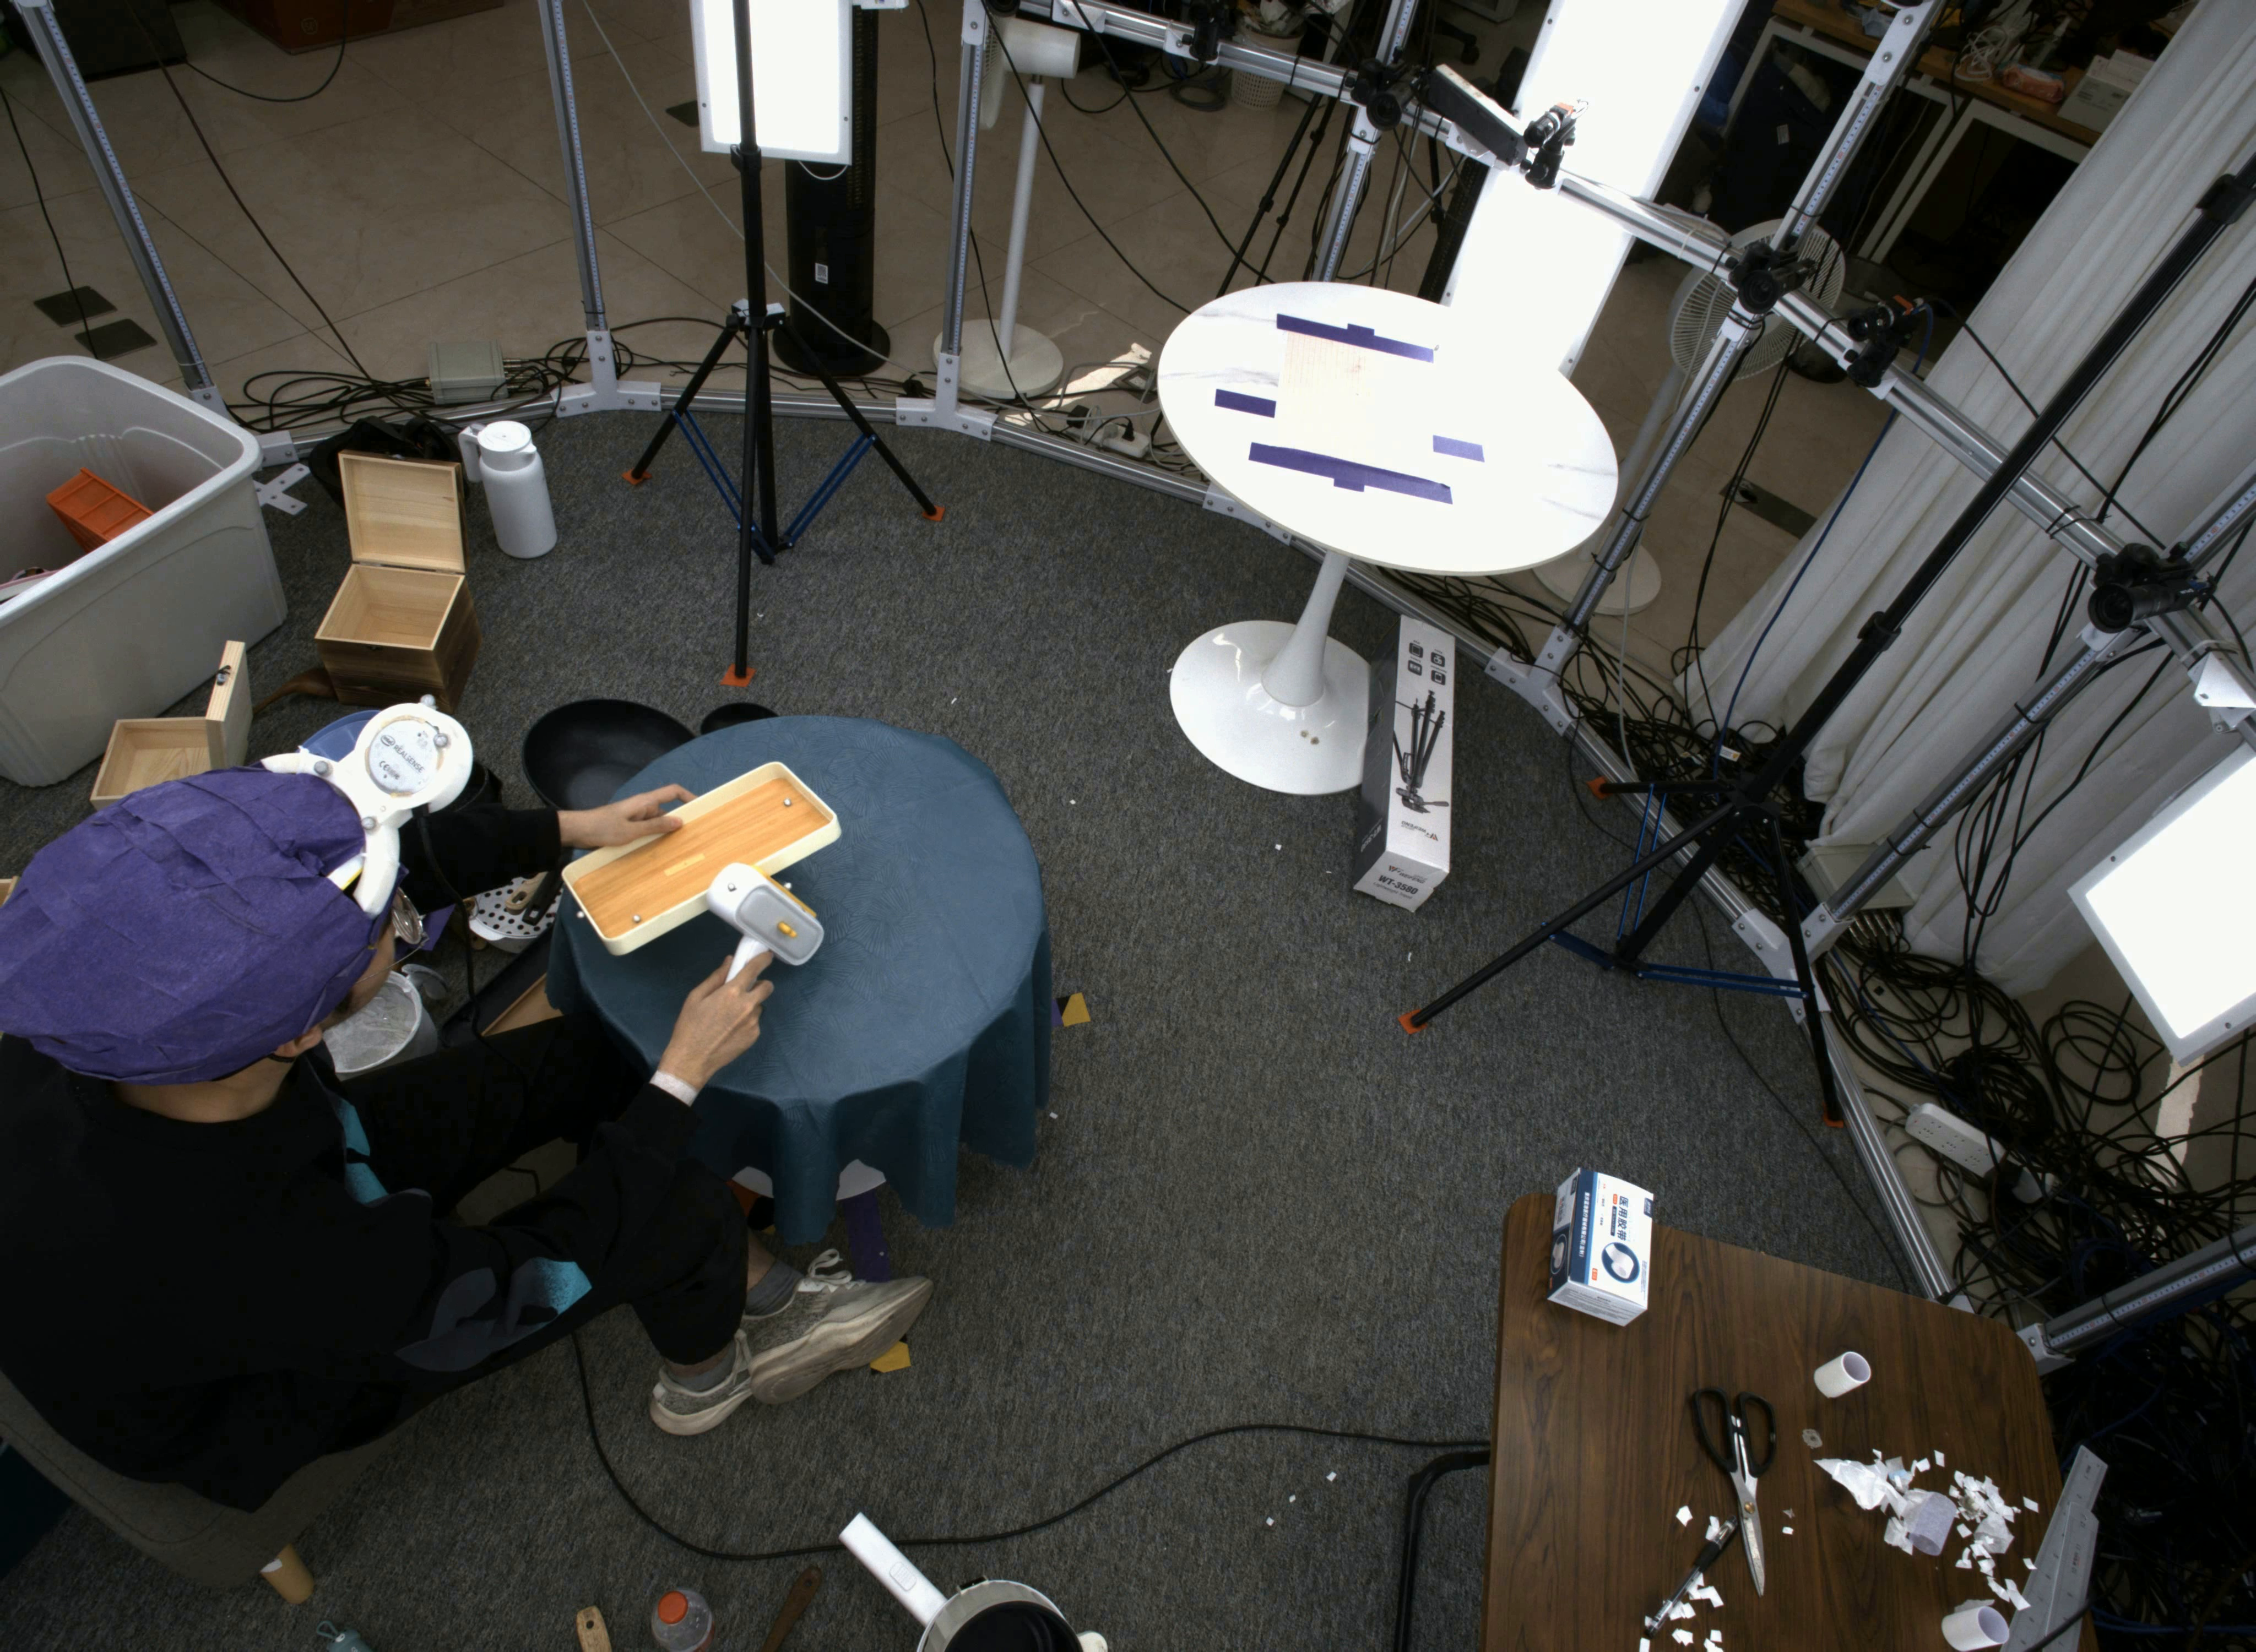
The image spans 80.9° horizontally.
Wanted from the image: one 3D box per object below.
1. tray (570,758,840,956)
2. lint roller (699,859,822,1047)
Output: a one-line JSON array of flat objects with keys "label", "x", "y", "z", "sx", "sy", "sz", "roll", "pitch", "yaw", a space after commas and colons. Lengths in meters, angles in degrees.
[{"label": "tray", "x": -0.509, "y": 0.028, "z": 1.536, "sx": 0.301, "sy": 0.028, "sz": 0.184, "roll": -30, "pitch": 44, "yaw": -23}, {"label": "lint roller", "x": -0.439, "y": 0.152, "z": 1.483, "sx": 0.072, "sy": 0.198, "sz": 0.193, "roll": 21, "pitch": 77, "yaw": 19}]
